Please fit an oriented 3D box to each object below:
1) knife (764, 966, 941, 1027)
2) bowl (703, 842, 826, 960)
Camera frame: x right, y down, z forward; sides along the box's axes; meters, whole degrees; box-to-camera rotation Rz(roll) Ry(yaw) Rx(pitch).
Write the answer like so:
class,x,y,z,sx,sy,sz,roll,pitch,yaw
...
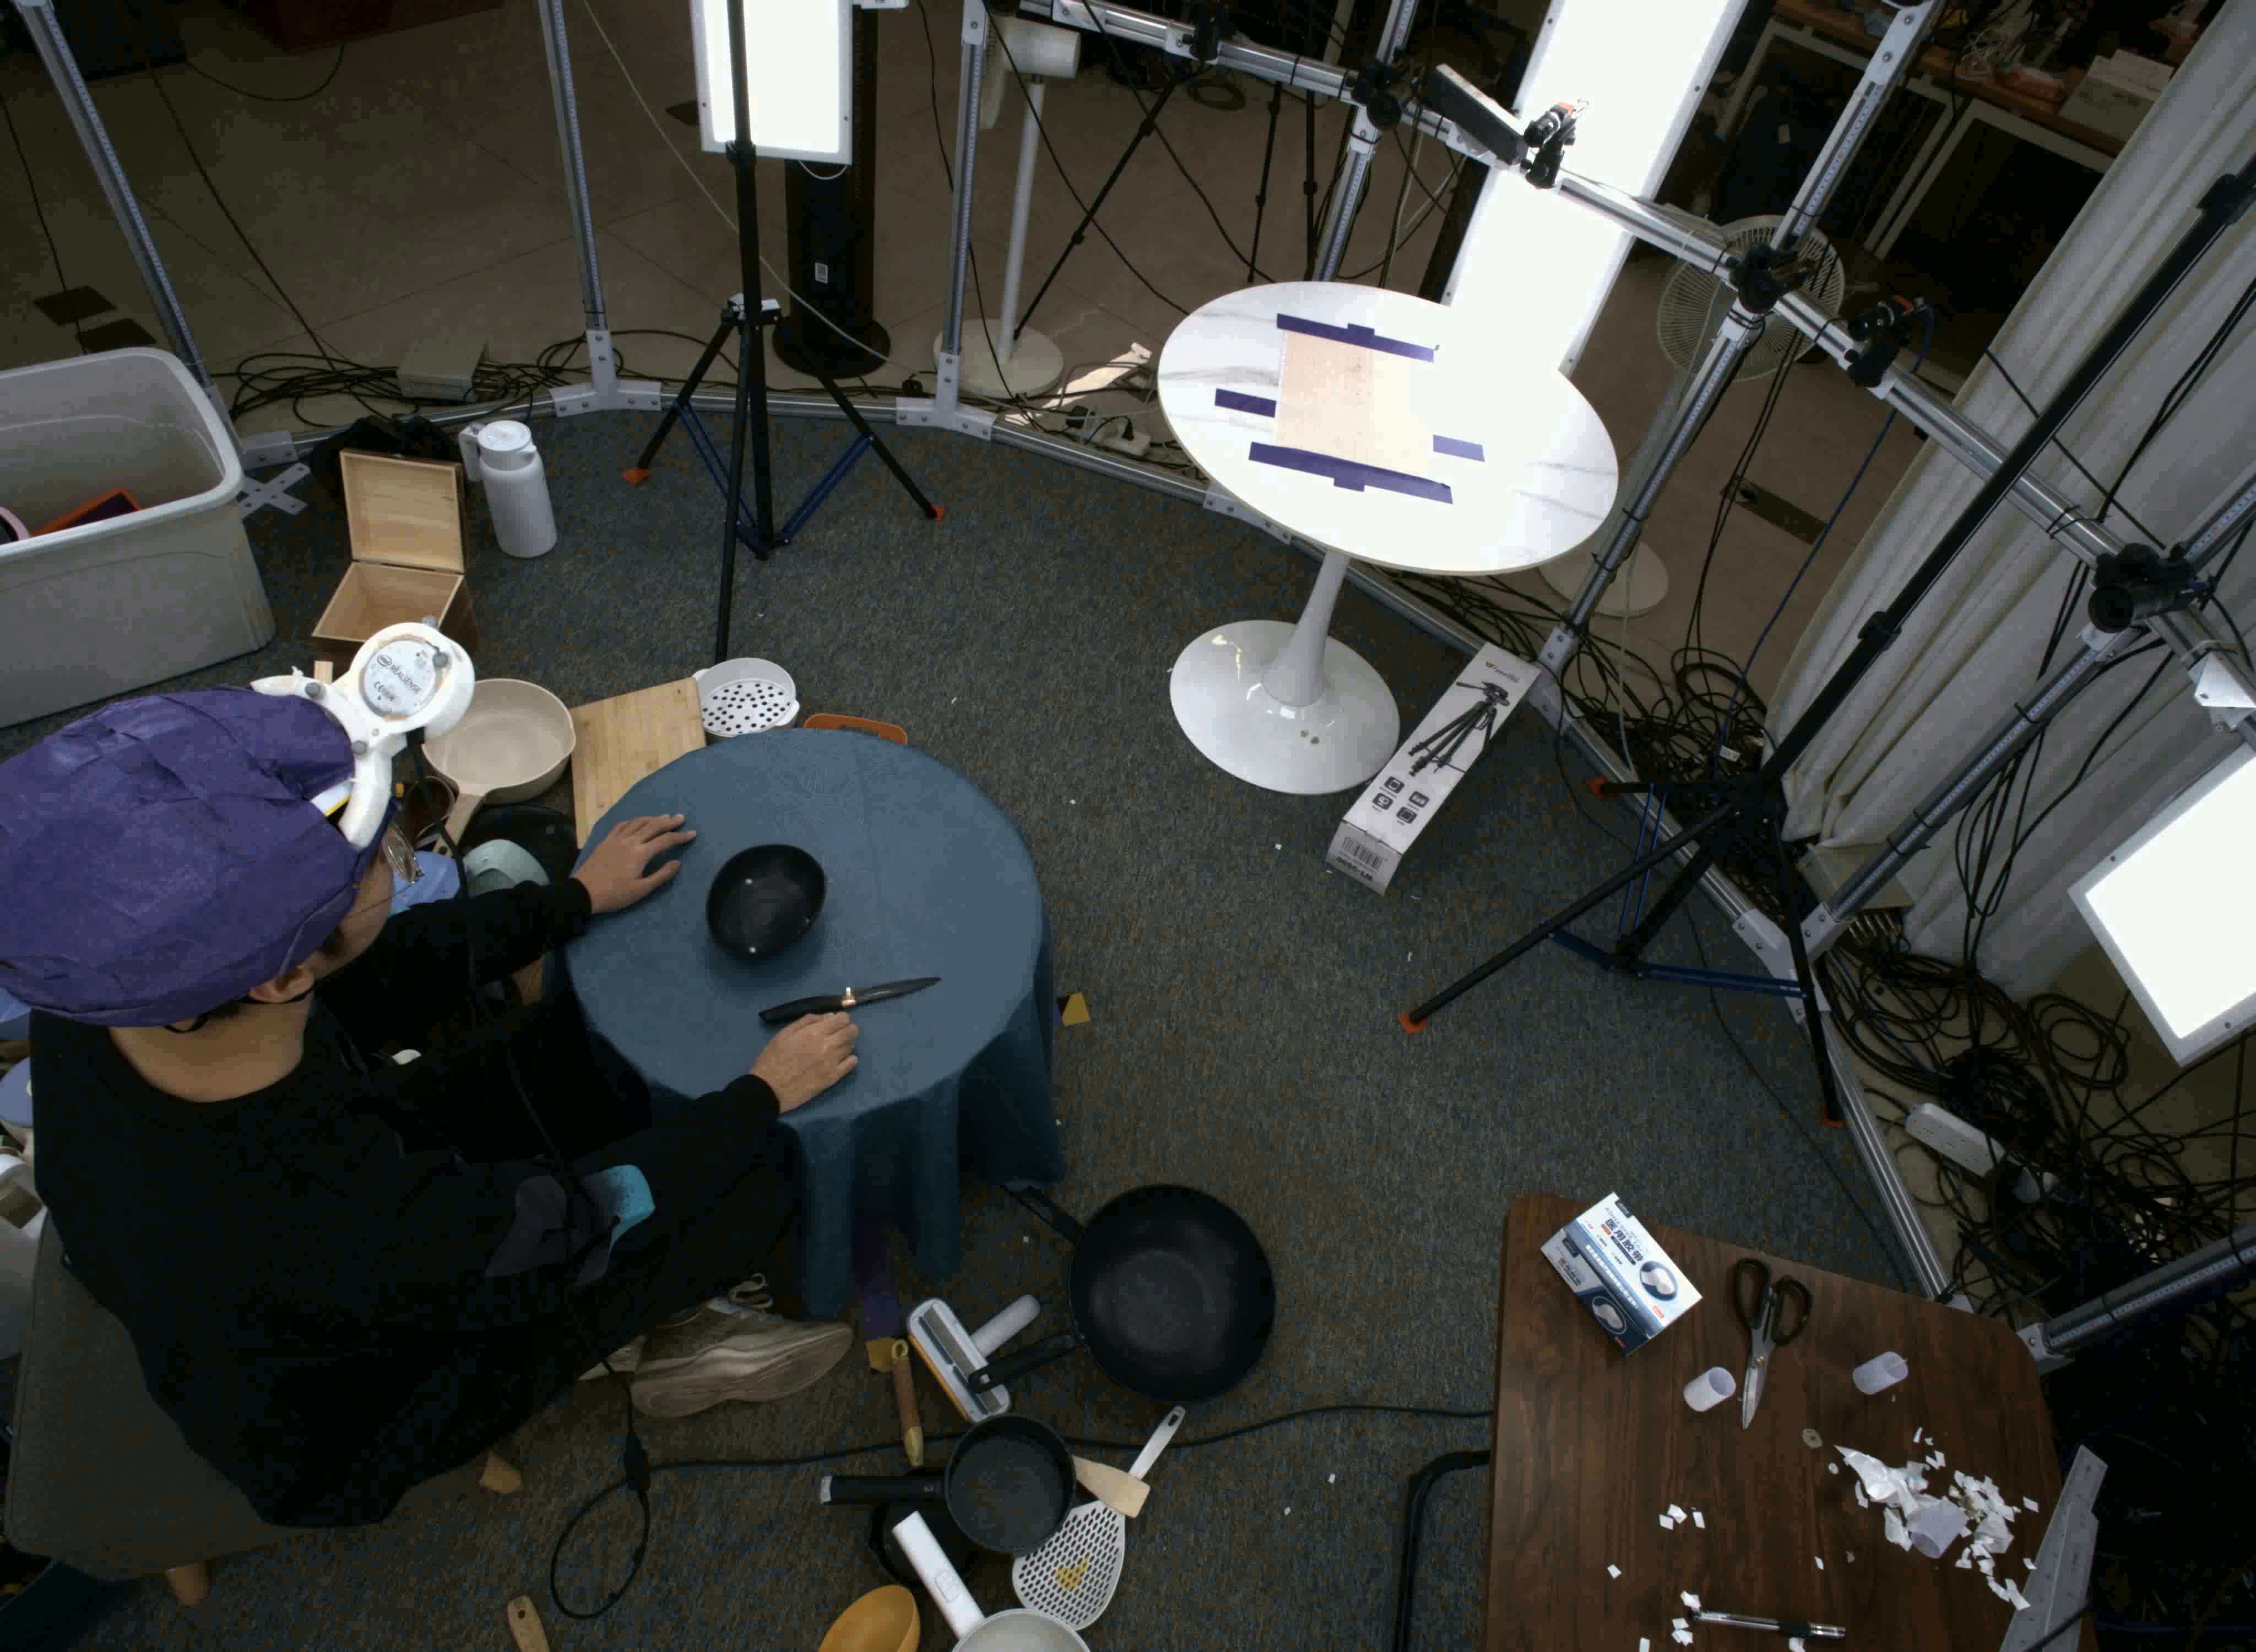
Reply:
class,x,y,z,sx,sy,sz,roll,pitch,yaw
knife,-0.332,0.204,1.578,0.227,0.017,0.025,-13,61,-25
bowl,-0.445,0.100,1.591,0.136,0.068,0.169,22,54,3
